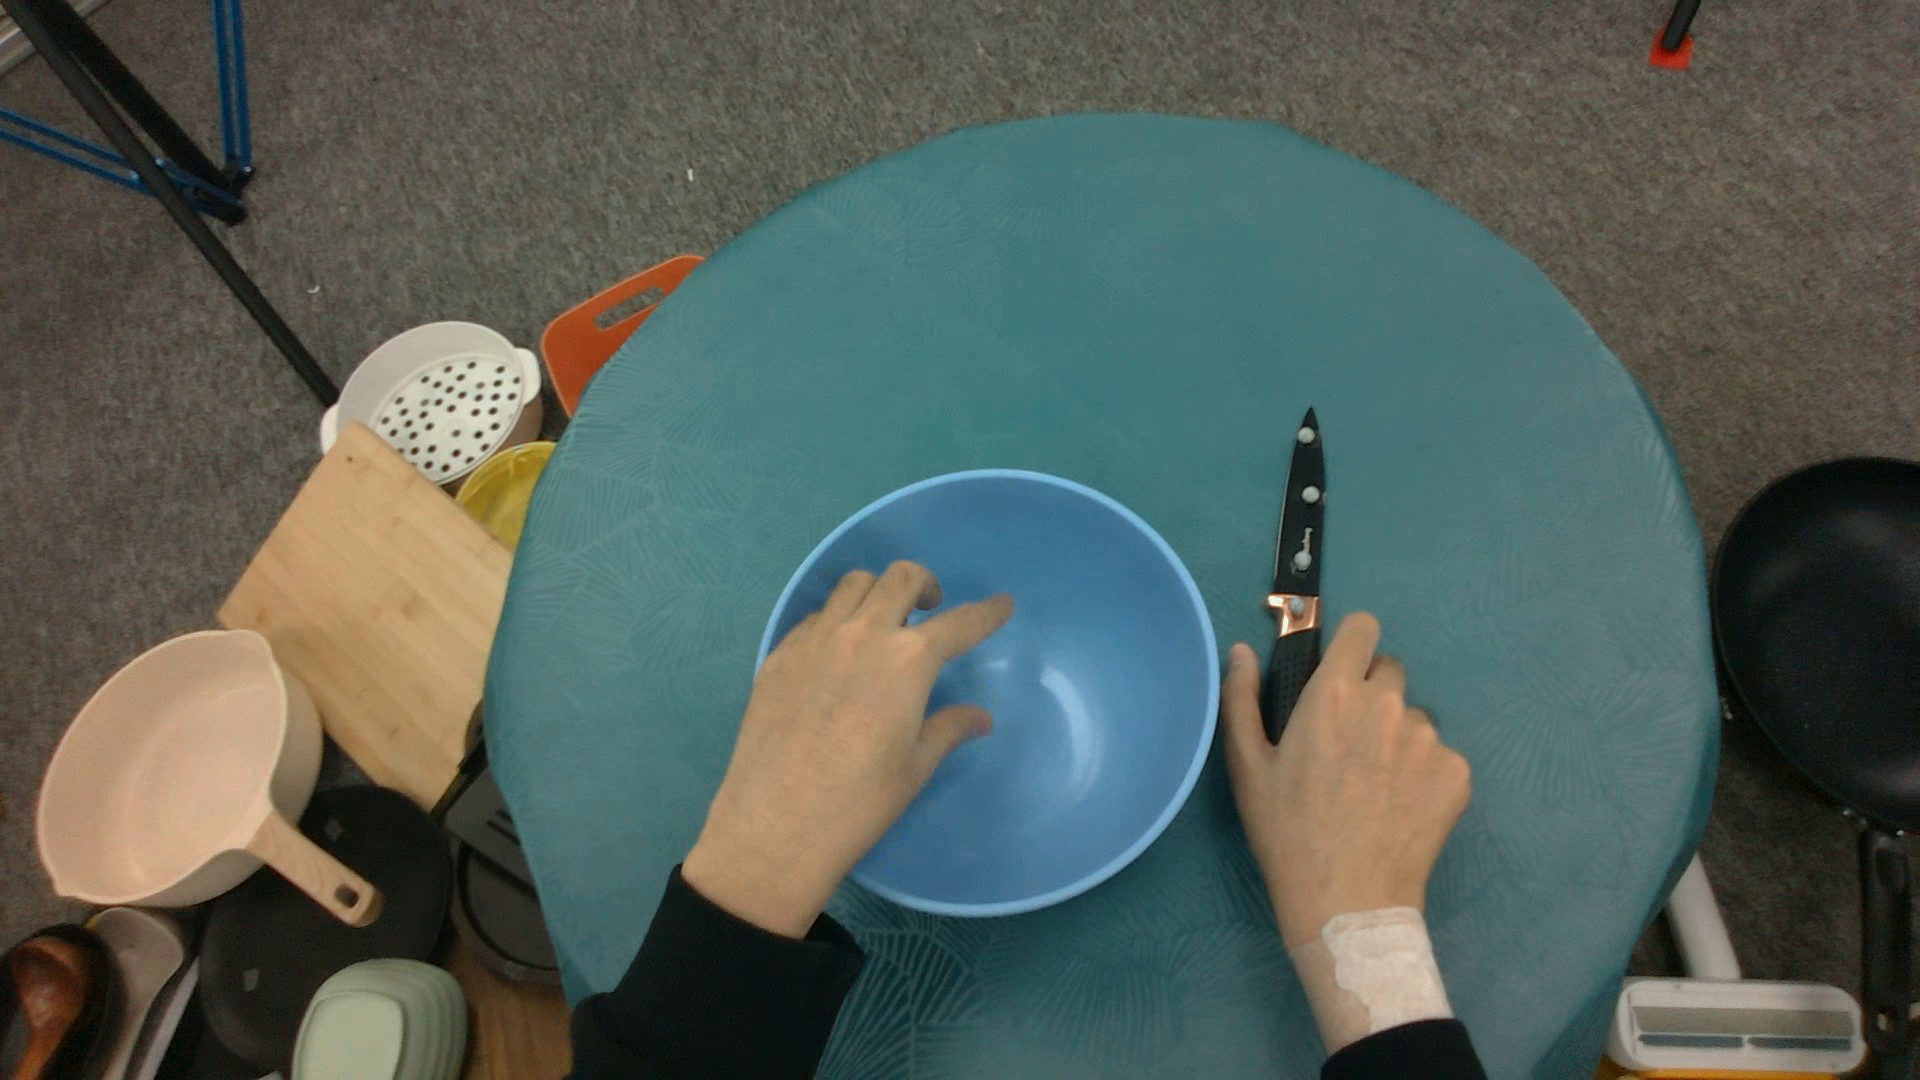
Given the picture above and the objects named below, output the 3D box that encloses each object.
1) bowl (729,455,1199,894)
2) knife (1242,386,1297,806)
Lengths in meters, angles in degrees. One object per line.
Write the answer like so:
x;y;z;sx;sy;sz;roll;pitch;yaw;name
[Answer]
0.005;0.069;0.612;0.196;0.095;0.197;-3;61;5;bowl
0.151;0.019;0.670;0.026;0.017;0.226;0;62;13;knife
